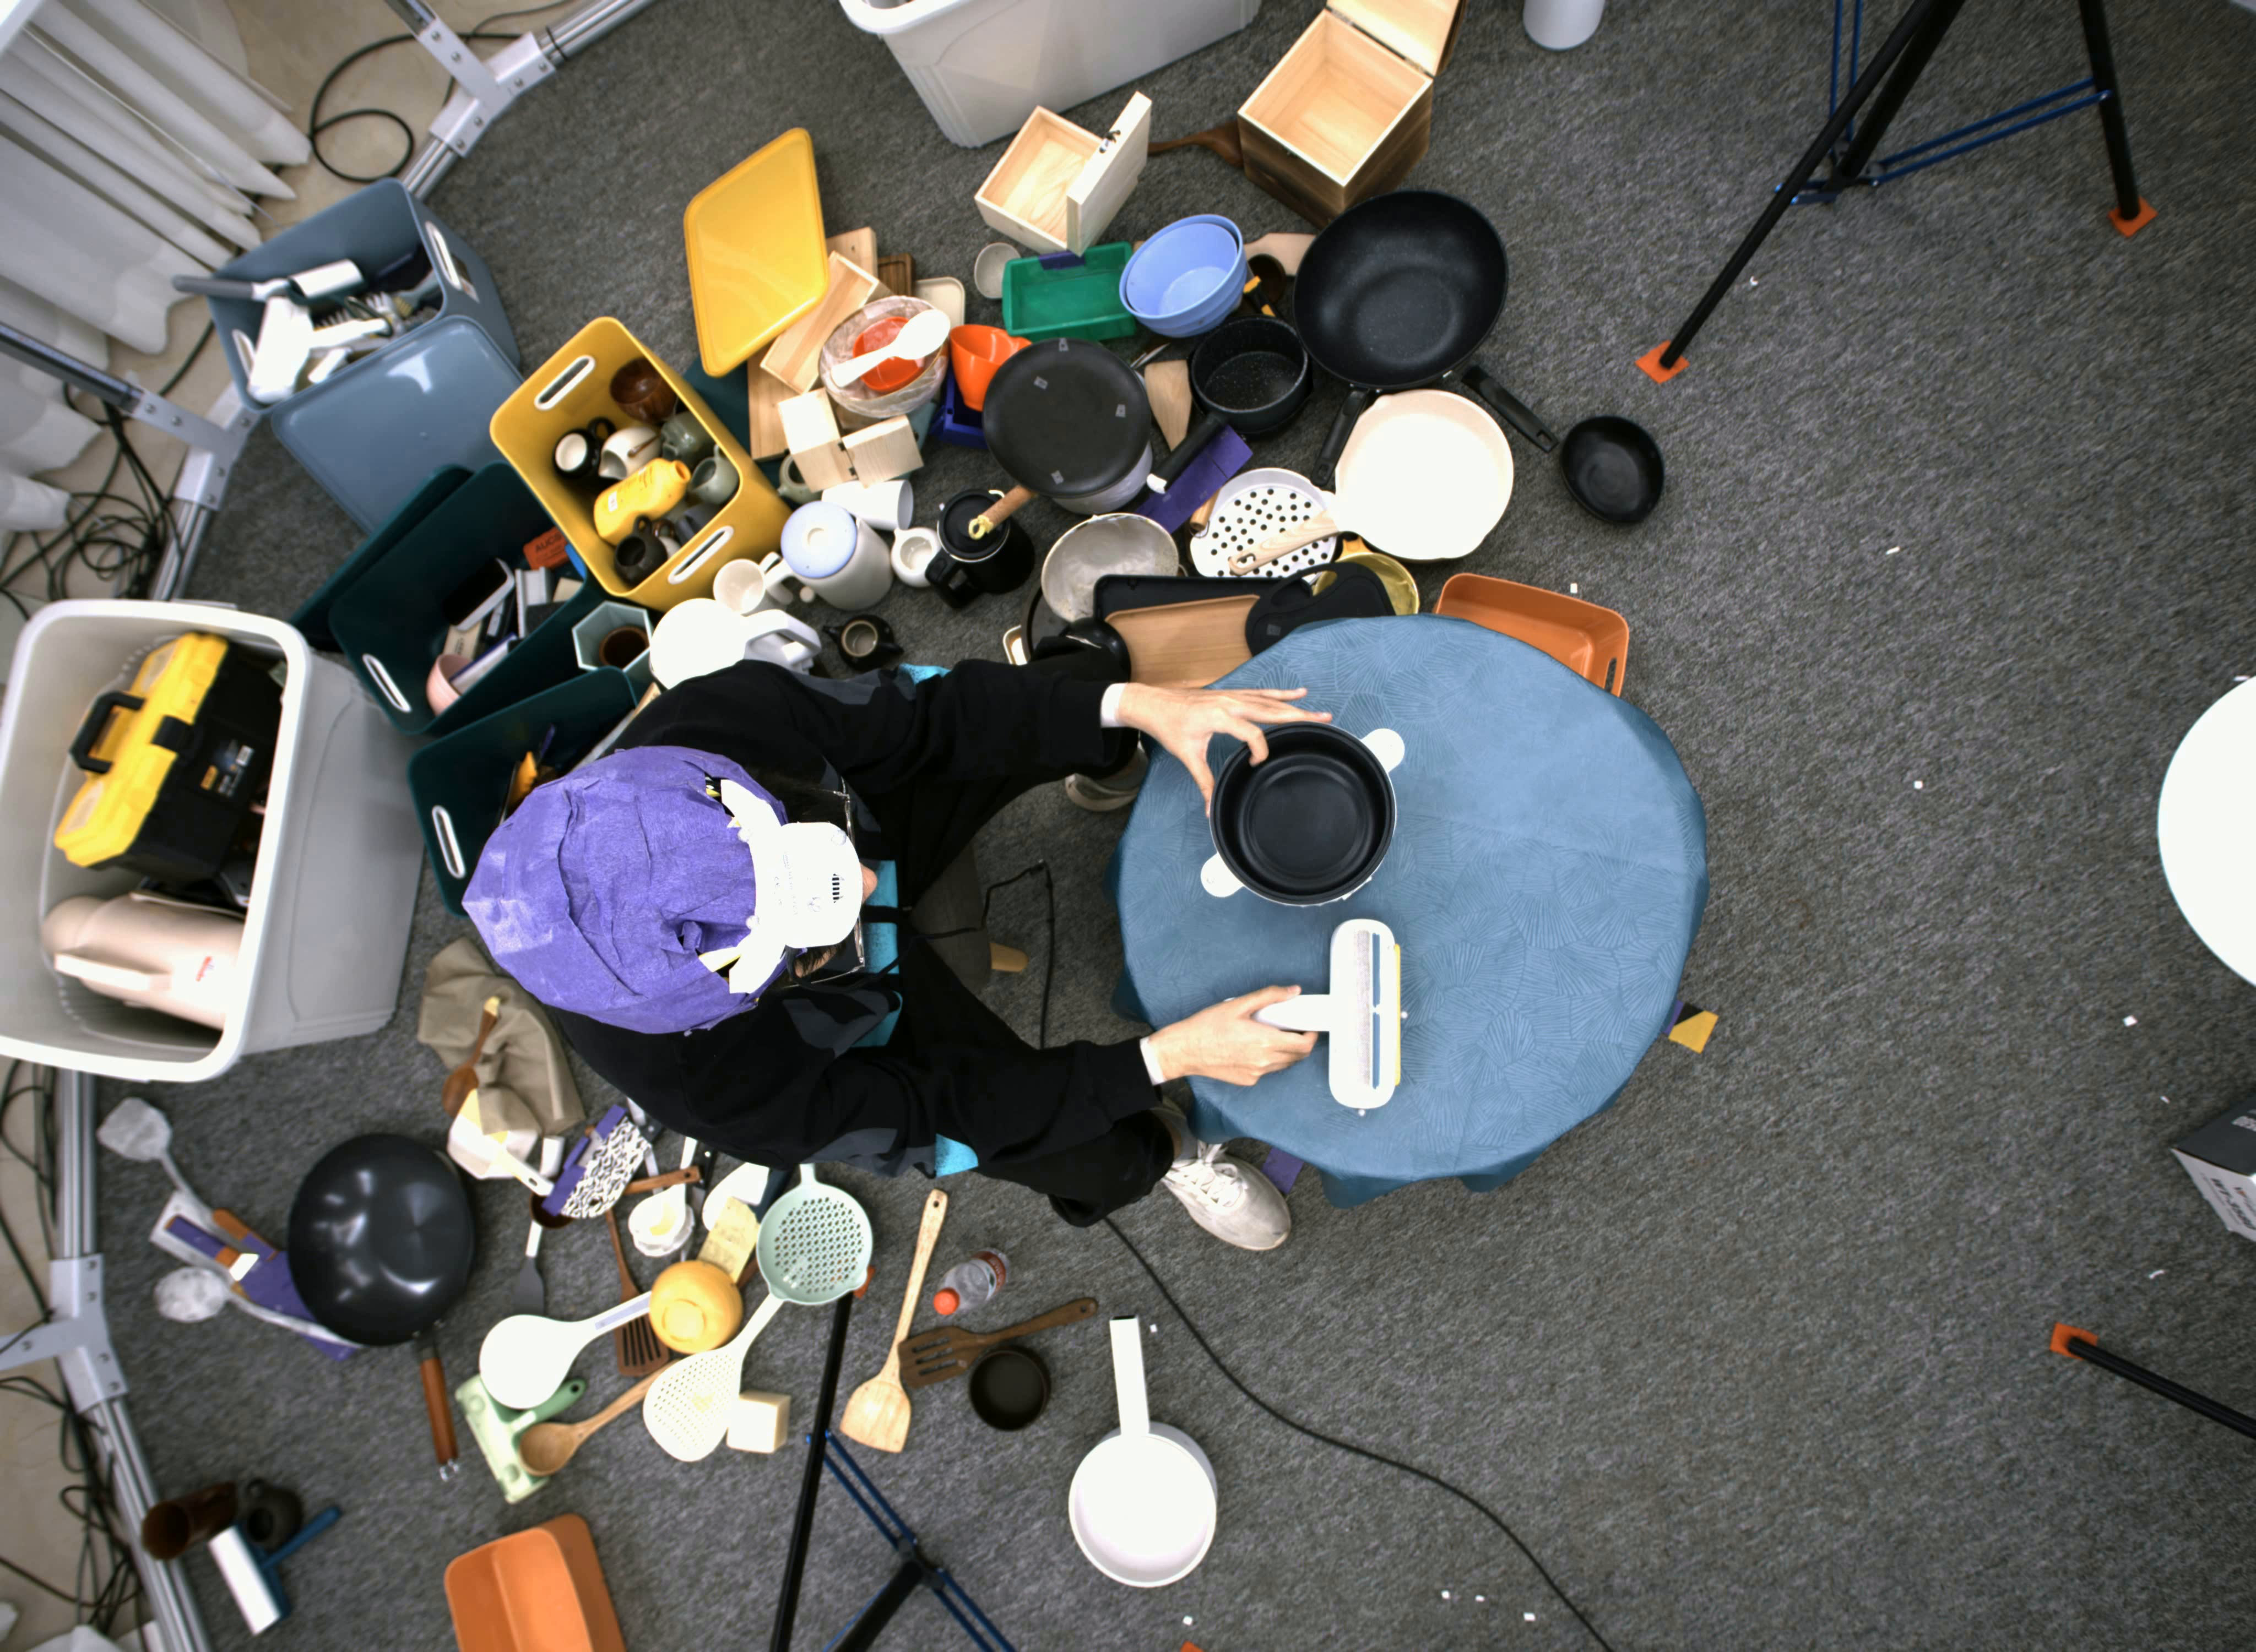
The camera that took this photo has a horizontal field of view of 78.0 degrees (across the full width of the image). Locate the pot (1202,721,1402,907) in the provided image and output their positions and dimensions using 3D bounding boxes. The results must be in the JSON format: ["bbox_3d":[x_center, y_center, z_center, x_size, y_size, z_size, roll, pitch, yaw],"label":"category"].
[{"bbox_3d":[0.174,-0.011,1.406,0.241,0.142,0.190,-39,83,4],"label":"pot"}]

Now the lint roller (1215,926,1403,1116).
[{"bbox_3d":[0.183,0.195,1.431,0.193,0.074,0.191,4,80,12],"label":"lint roller"}]
